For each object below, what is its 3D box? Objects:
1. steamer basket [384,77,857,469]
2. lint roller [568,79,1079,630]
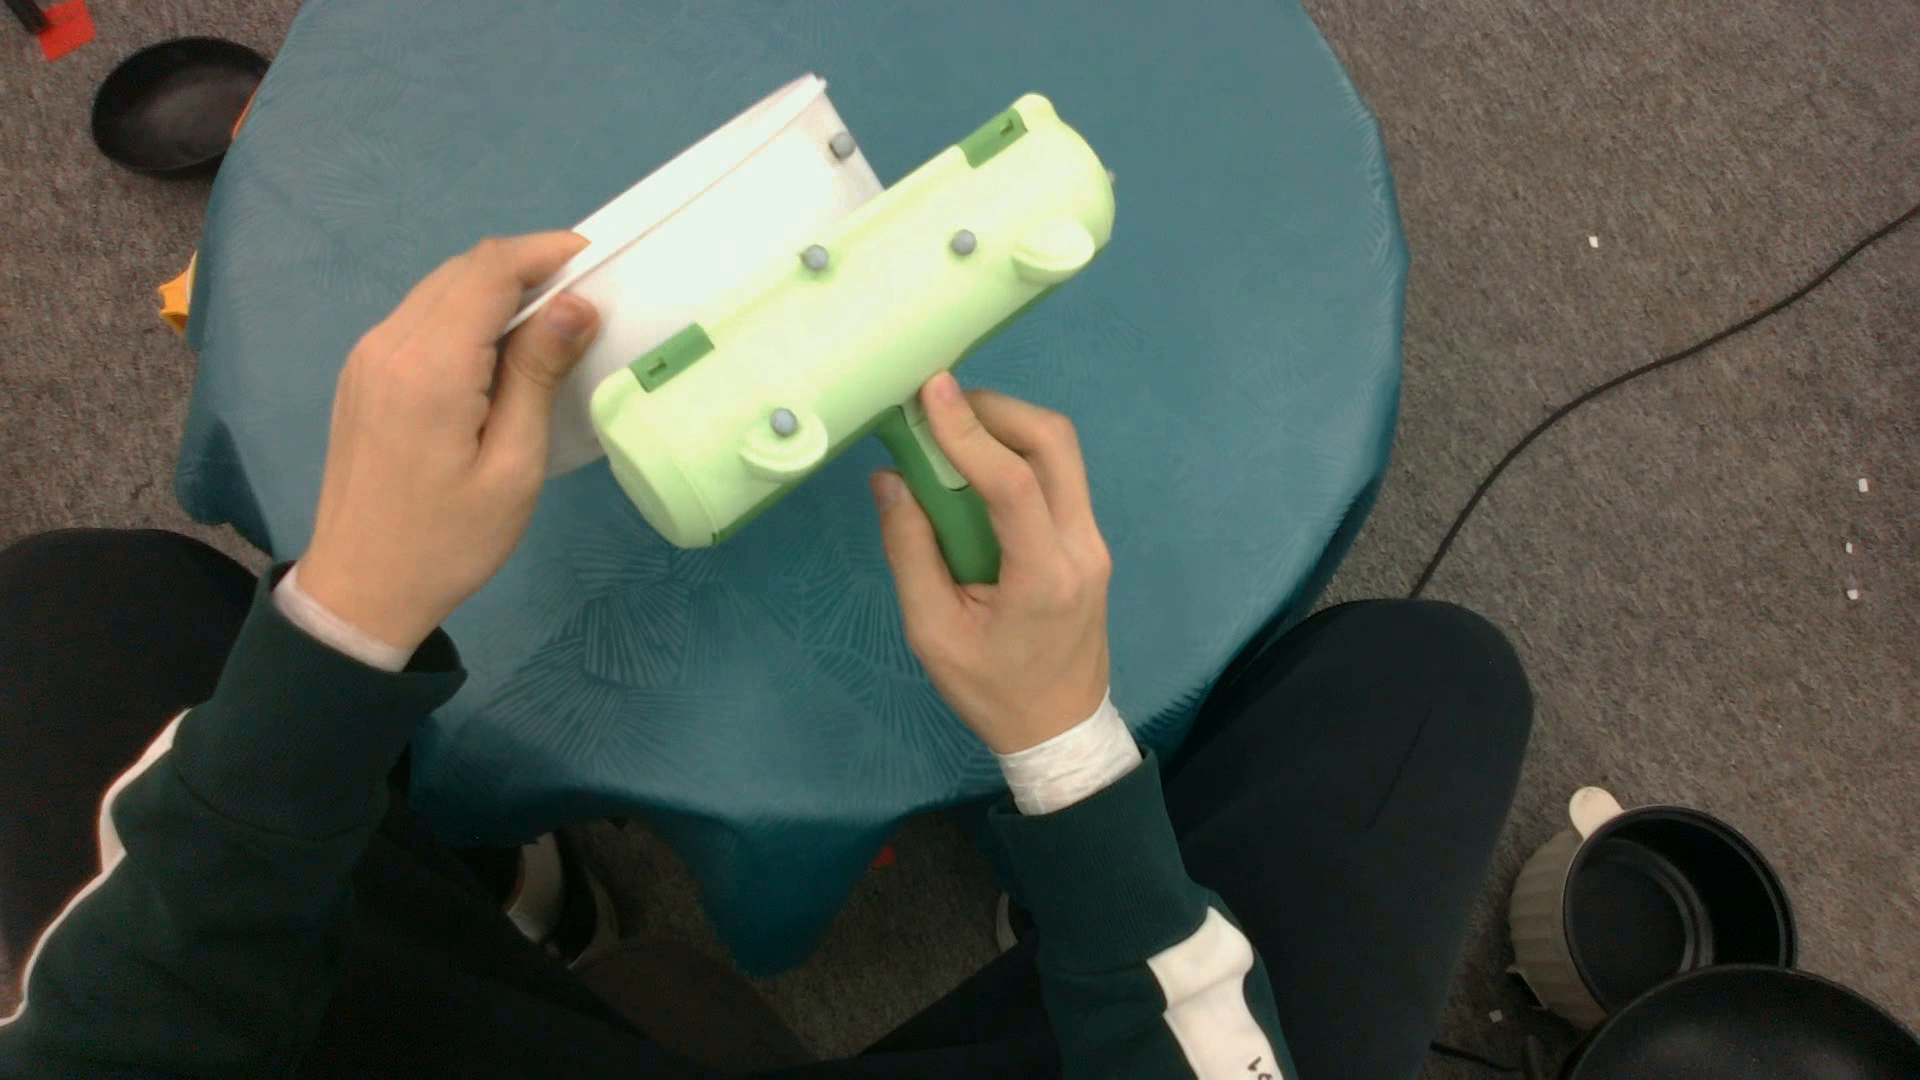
[{"bbox_3d":[-0.131,-0.107,0.566,0.201,0.232,0.069,-23,111,27],"label":"steamer basket"},{"bbox_3d":[-0.009,-0.035,0.486,0.199,0.082,0.183,-41,113,-21],"label":"lint roller"}]
